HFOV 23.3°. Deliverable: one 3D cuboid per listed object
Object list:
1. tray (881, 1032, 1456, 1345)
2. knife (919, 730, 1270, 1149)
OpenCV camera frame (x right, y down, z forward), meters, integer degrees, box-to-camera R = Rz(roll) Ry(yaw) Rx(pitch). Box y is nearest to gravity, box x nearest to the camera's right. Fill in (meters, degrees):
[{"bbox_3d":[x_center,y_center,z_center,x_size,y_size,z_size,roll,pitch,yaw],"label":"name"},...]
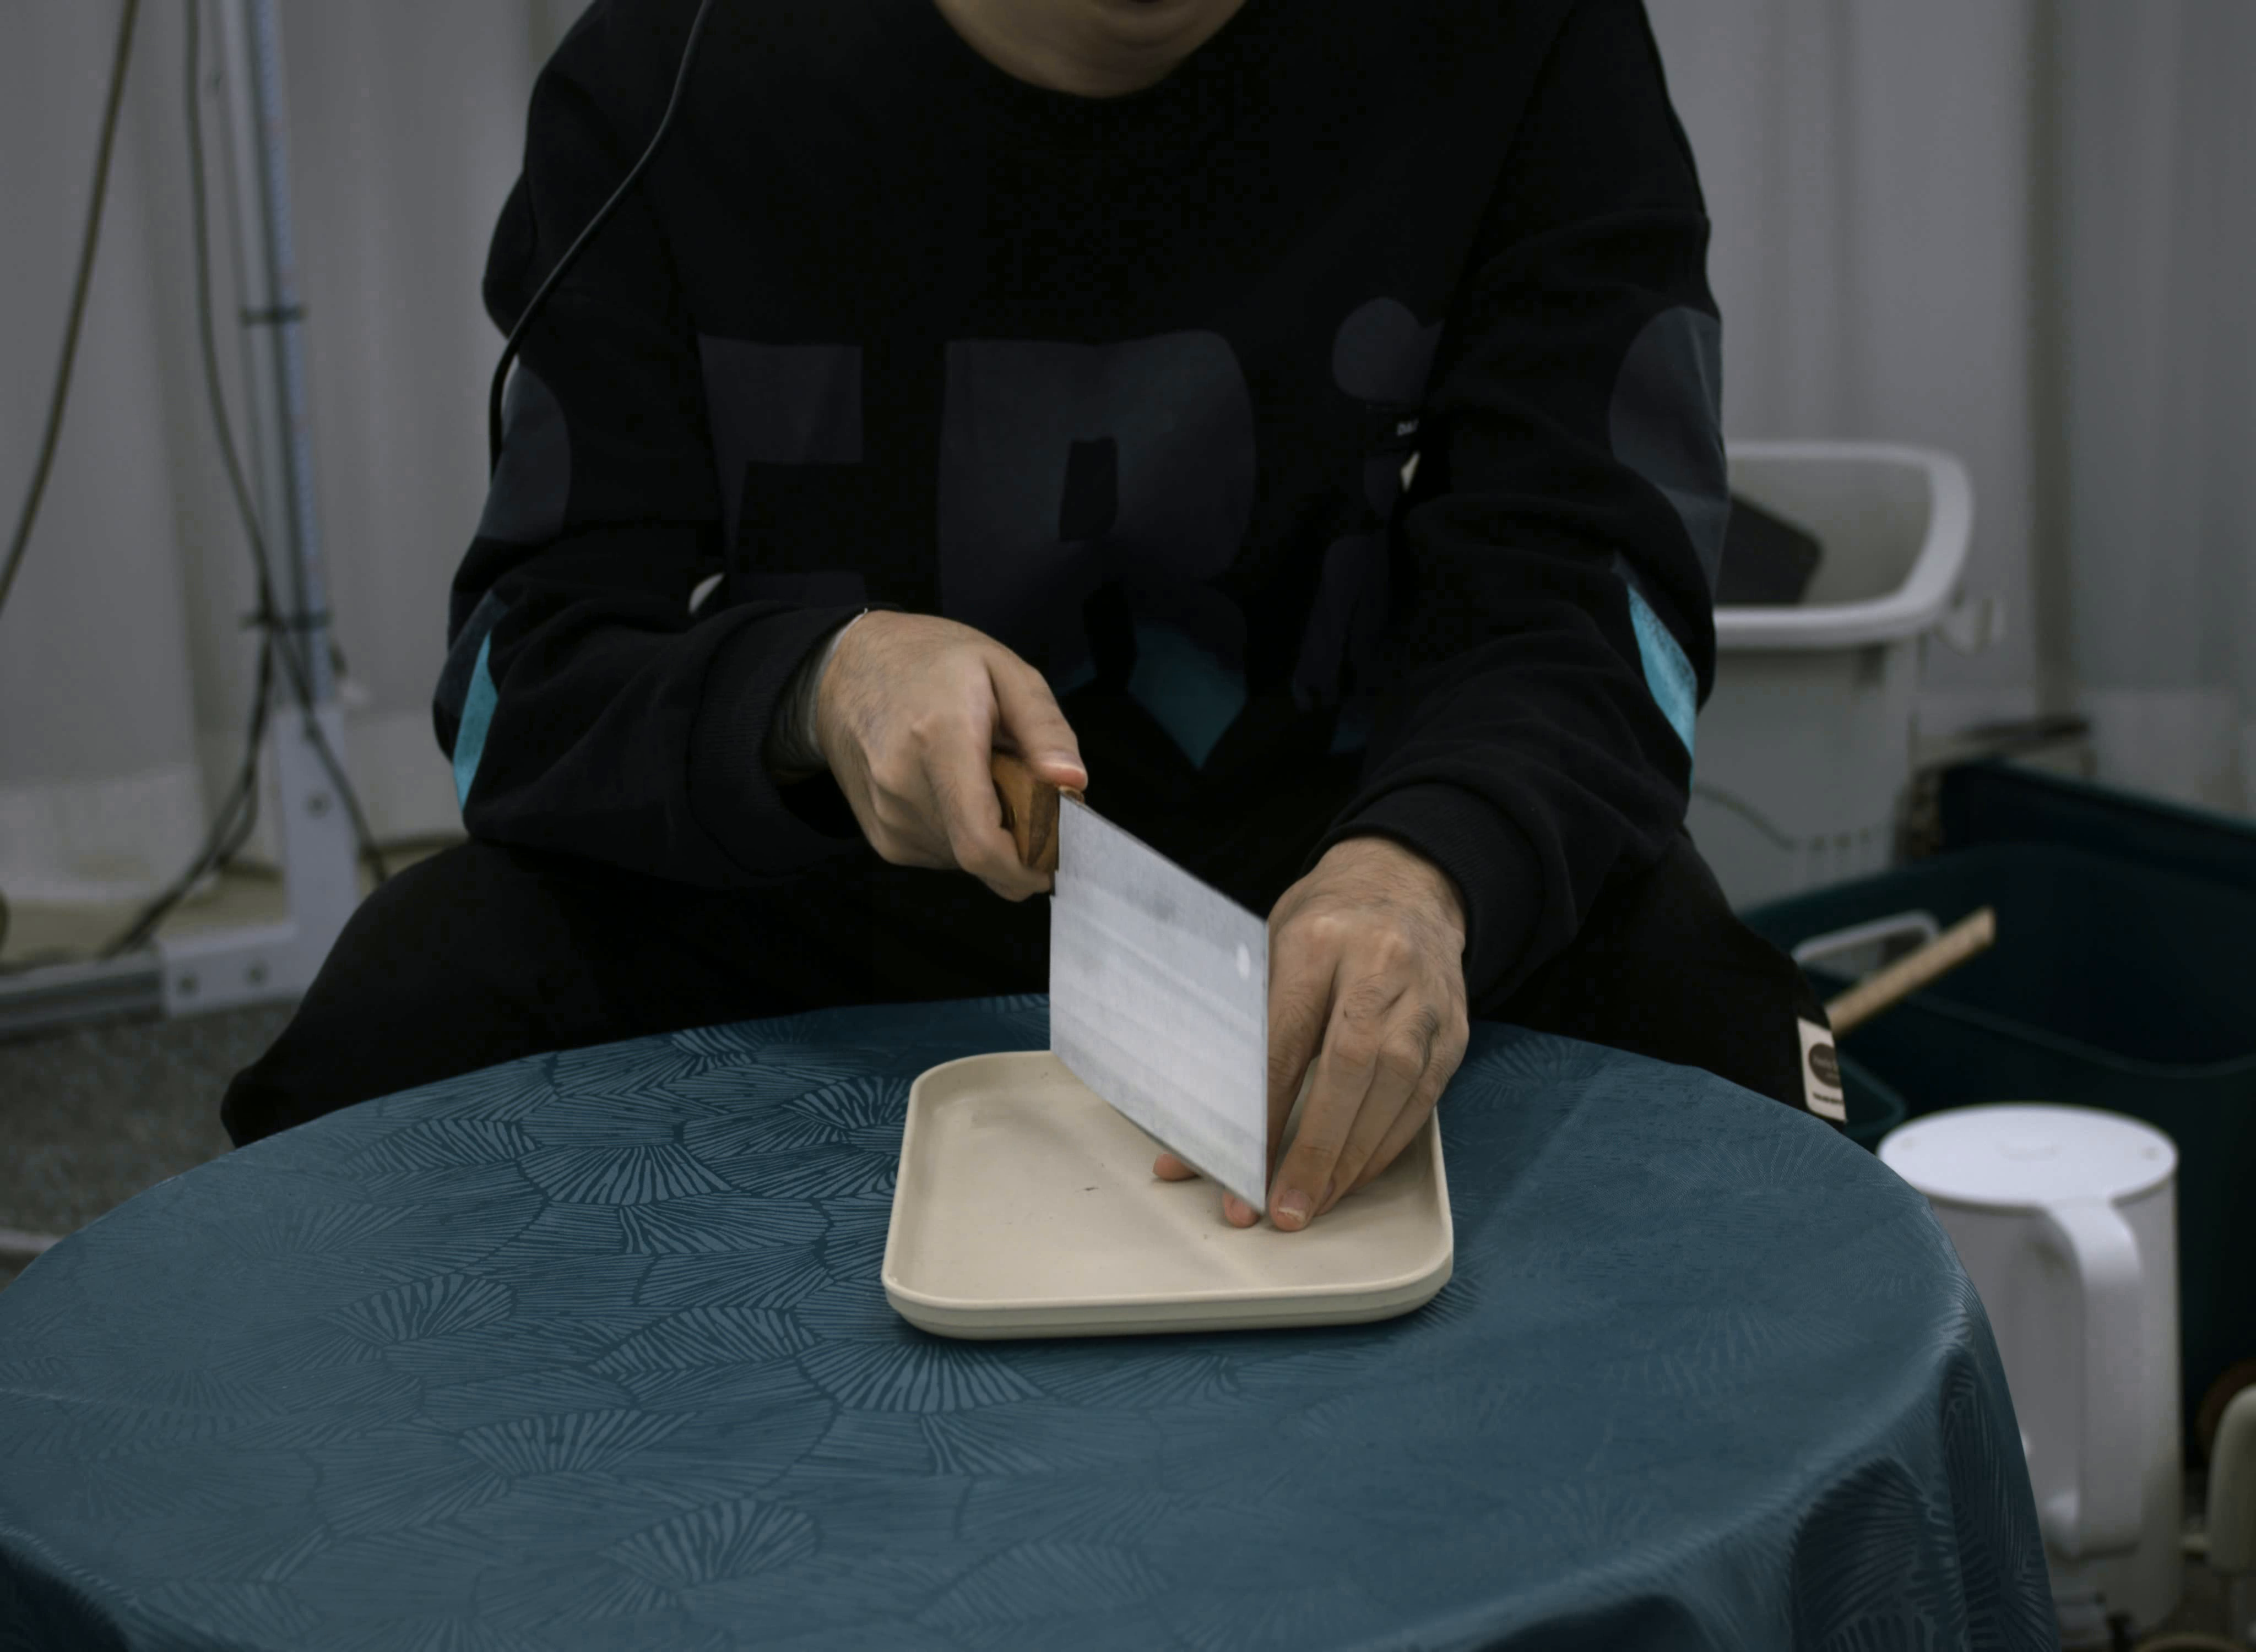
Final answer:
[{"bbox_3d":[0.014,0.111,1.689,0.171,0.017,0.241,-4,15,3],"label":"tray"},{"bbox_3d":[-0.012,0.035,1.731,0.021,0.092,0.308,-4,13,-19],"label":"knife"}]
